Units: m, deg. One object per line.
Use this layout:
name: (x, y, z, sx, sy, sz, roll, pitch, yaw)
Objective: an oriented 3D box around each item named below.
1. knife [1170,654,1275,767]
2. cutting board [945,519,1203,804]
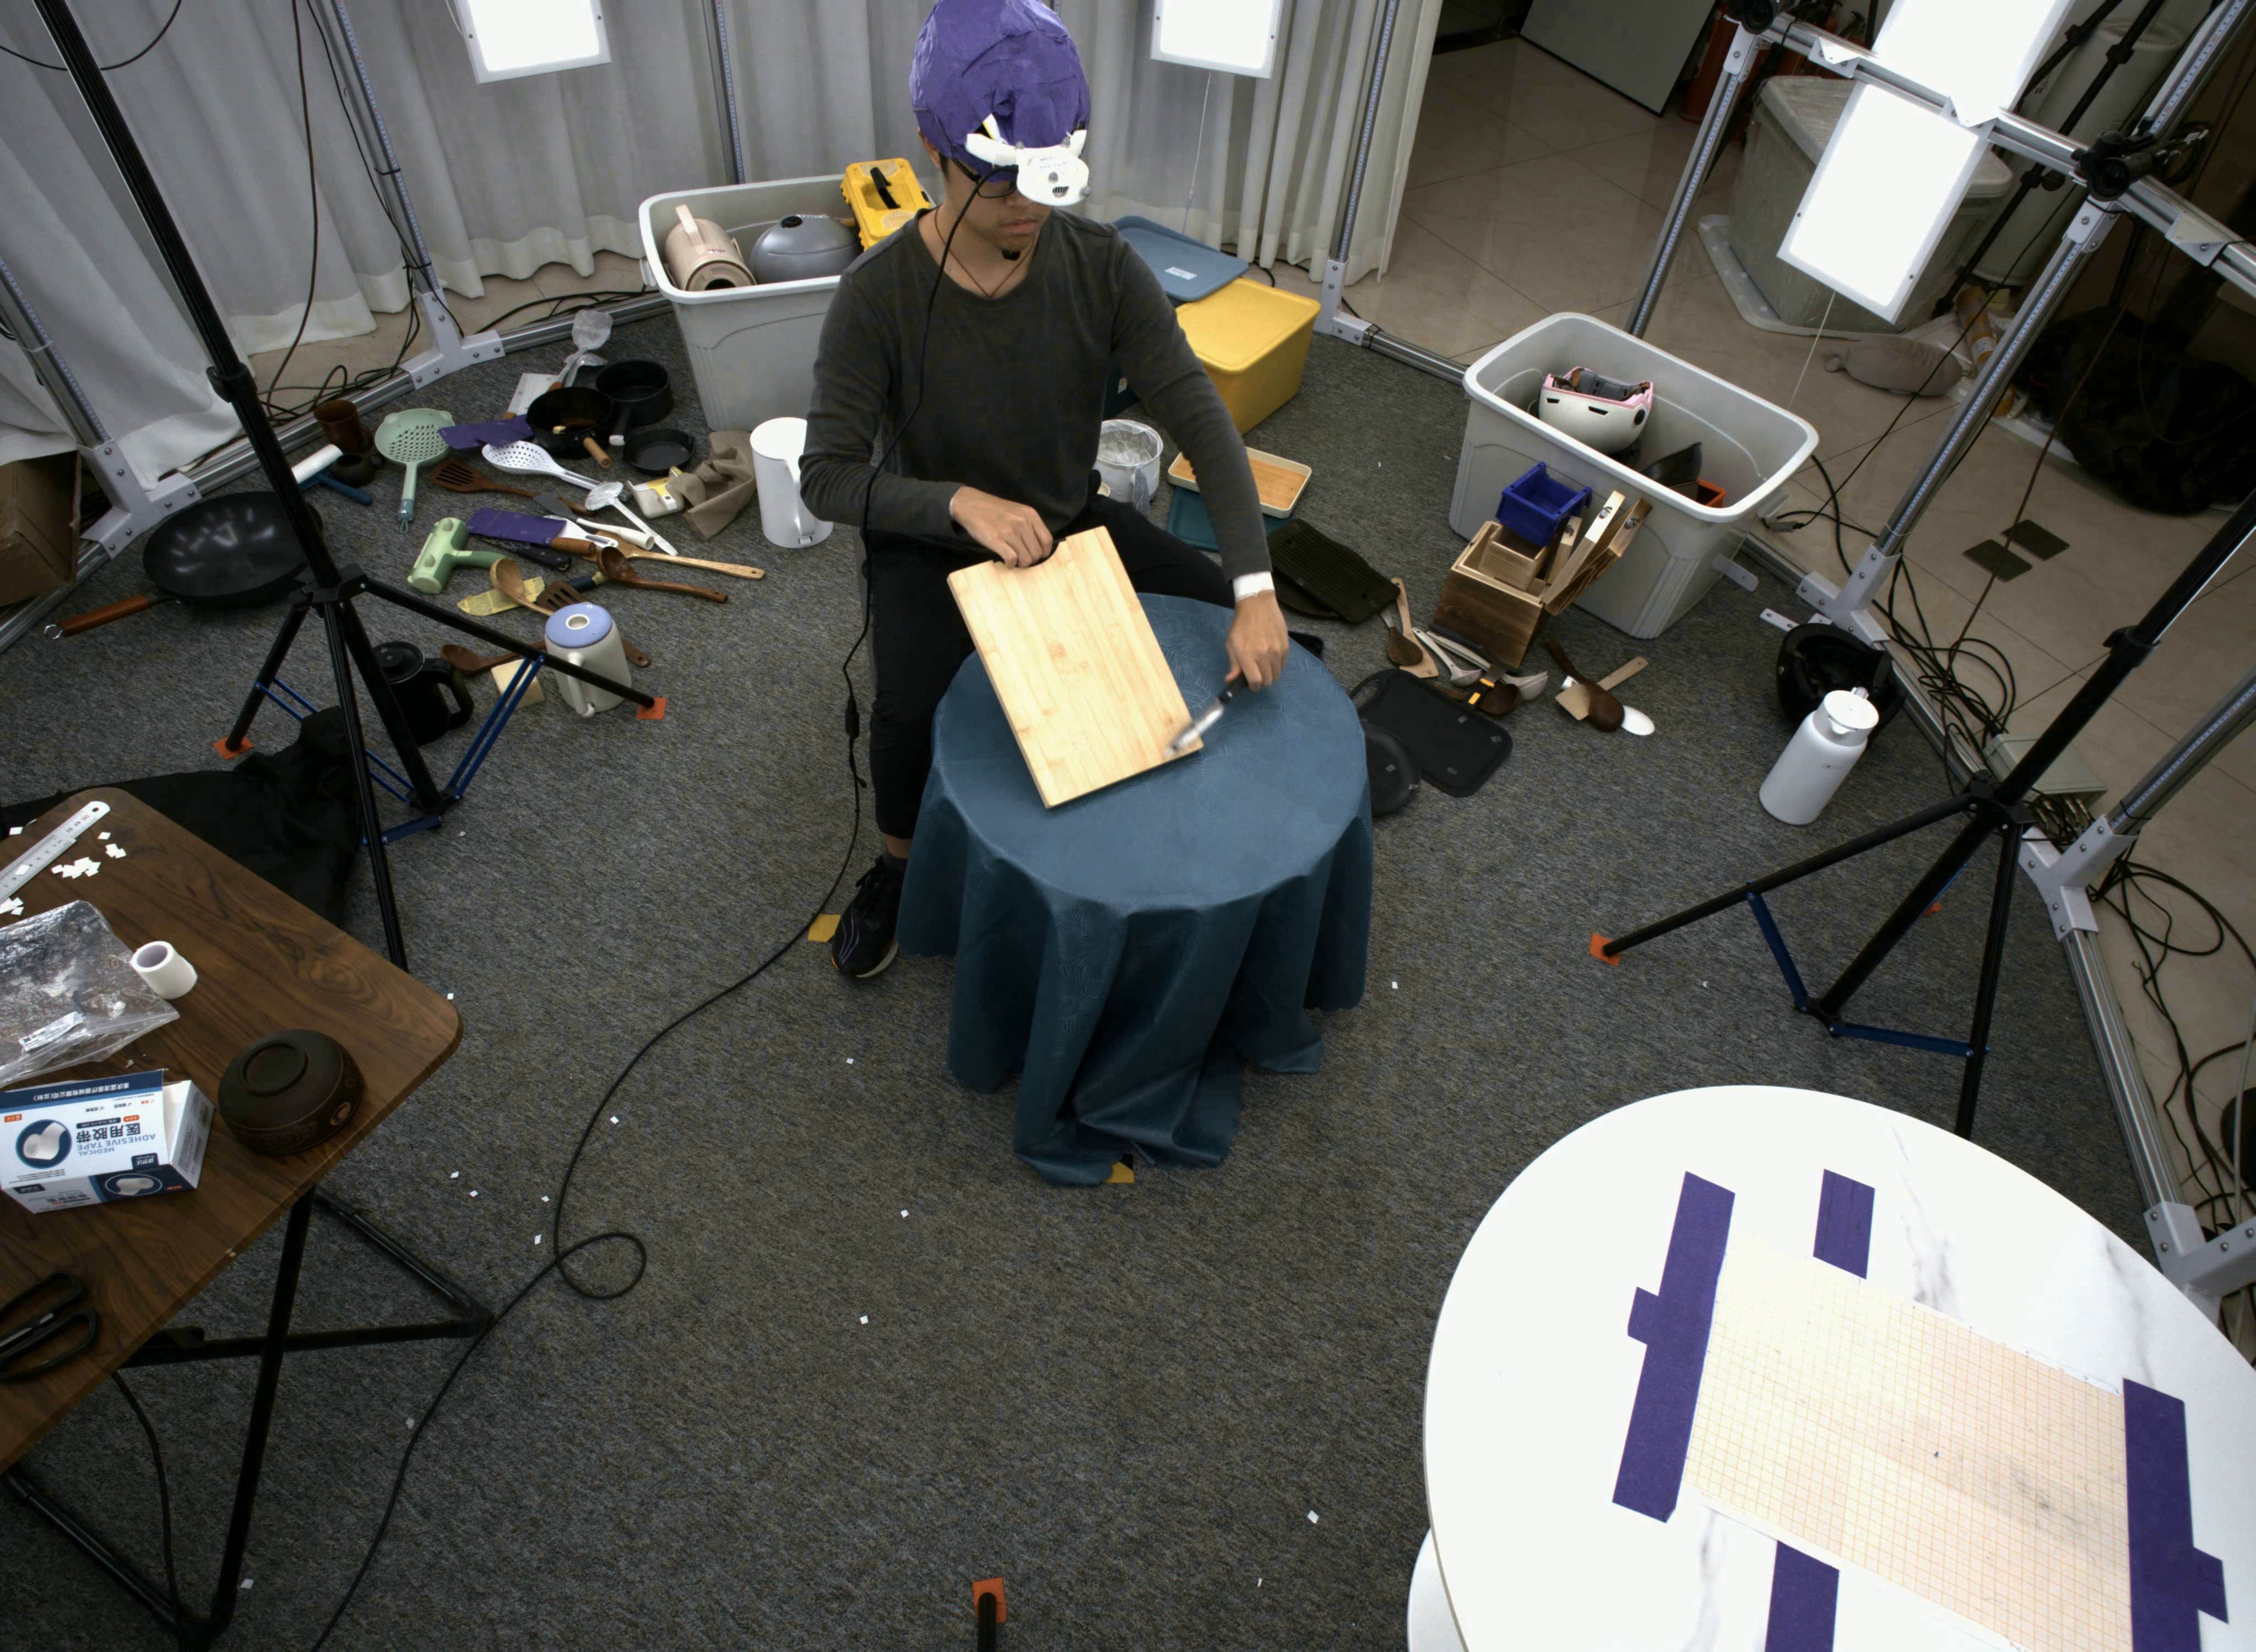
knife: (0.128, -0.162, 1.766, 0.024, 0.016, 0.241, 47, 64, -9)
cutting board: (-0.071, -0.225, 1.736, 0.251, 0.023, 0.350, -22, 83, -22)
